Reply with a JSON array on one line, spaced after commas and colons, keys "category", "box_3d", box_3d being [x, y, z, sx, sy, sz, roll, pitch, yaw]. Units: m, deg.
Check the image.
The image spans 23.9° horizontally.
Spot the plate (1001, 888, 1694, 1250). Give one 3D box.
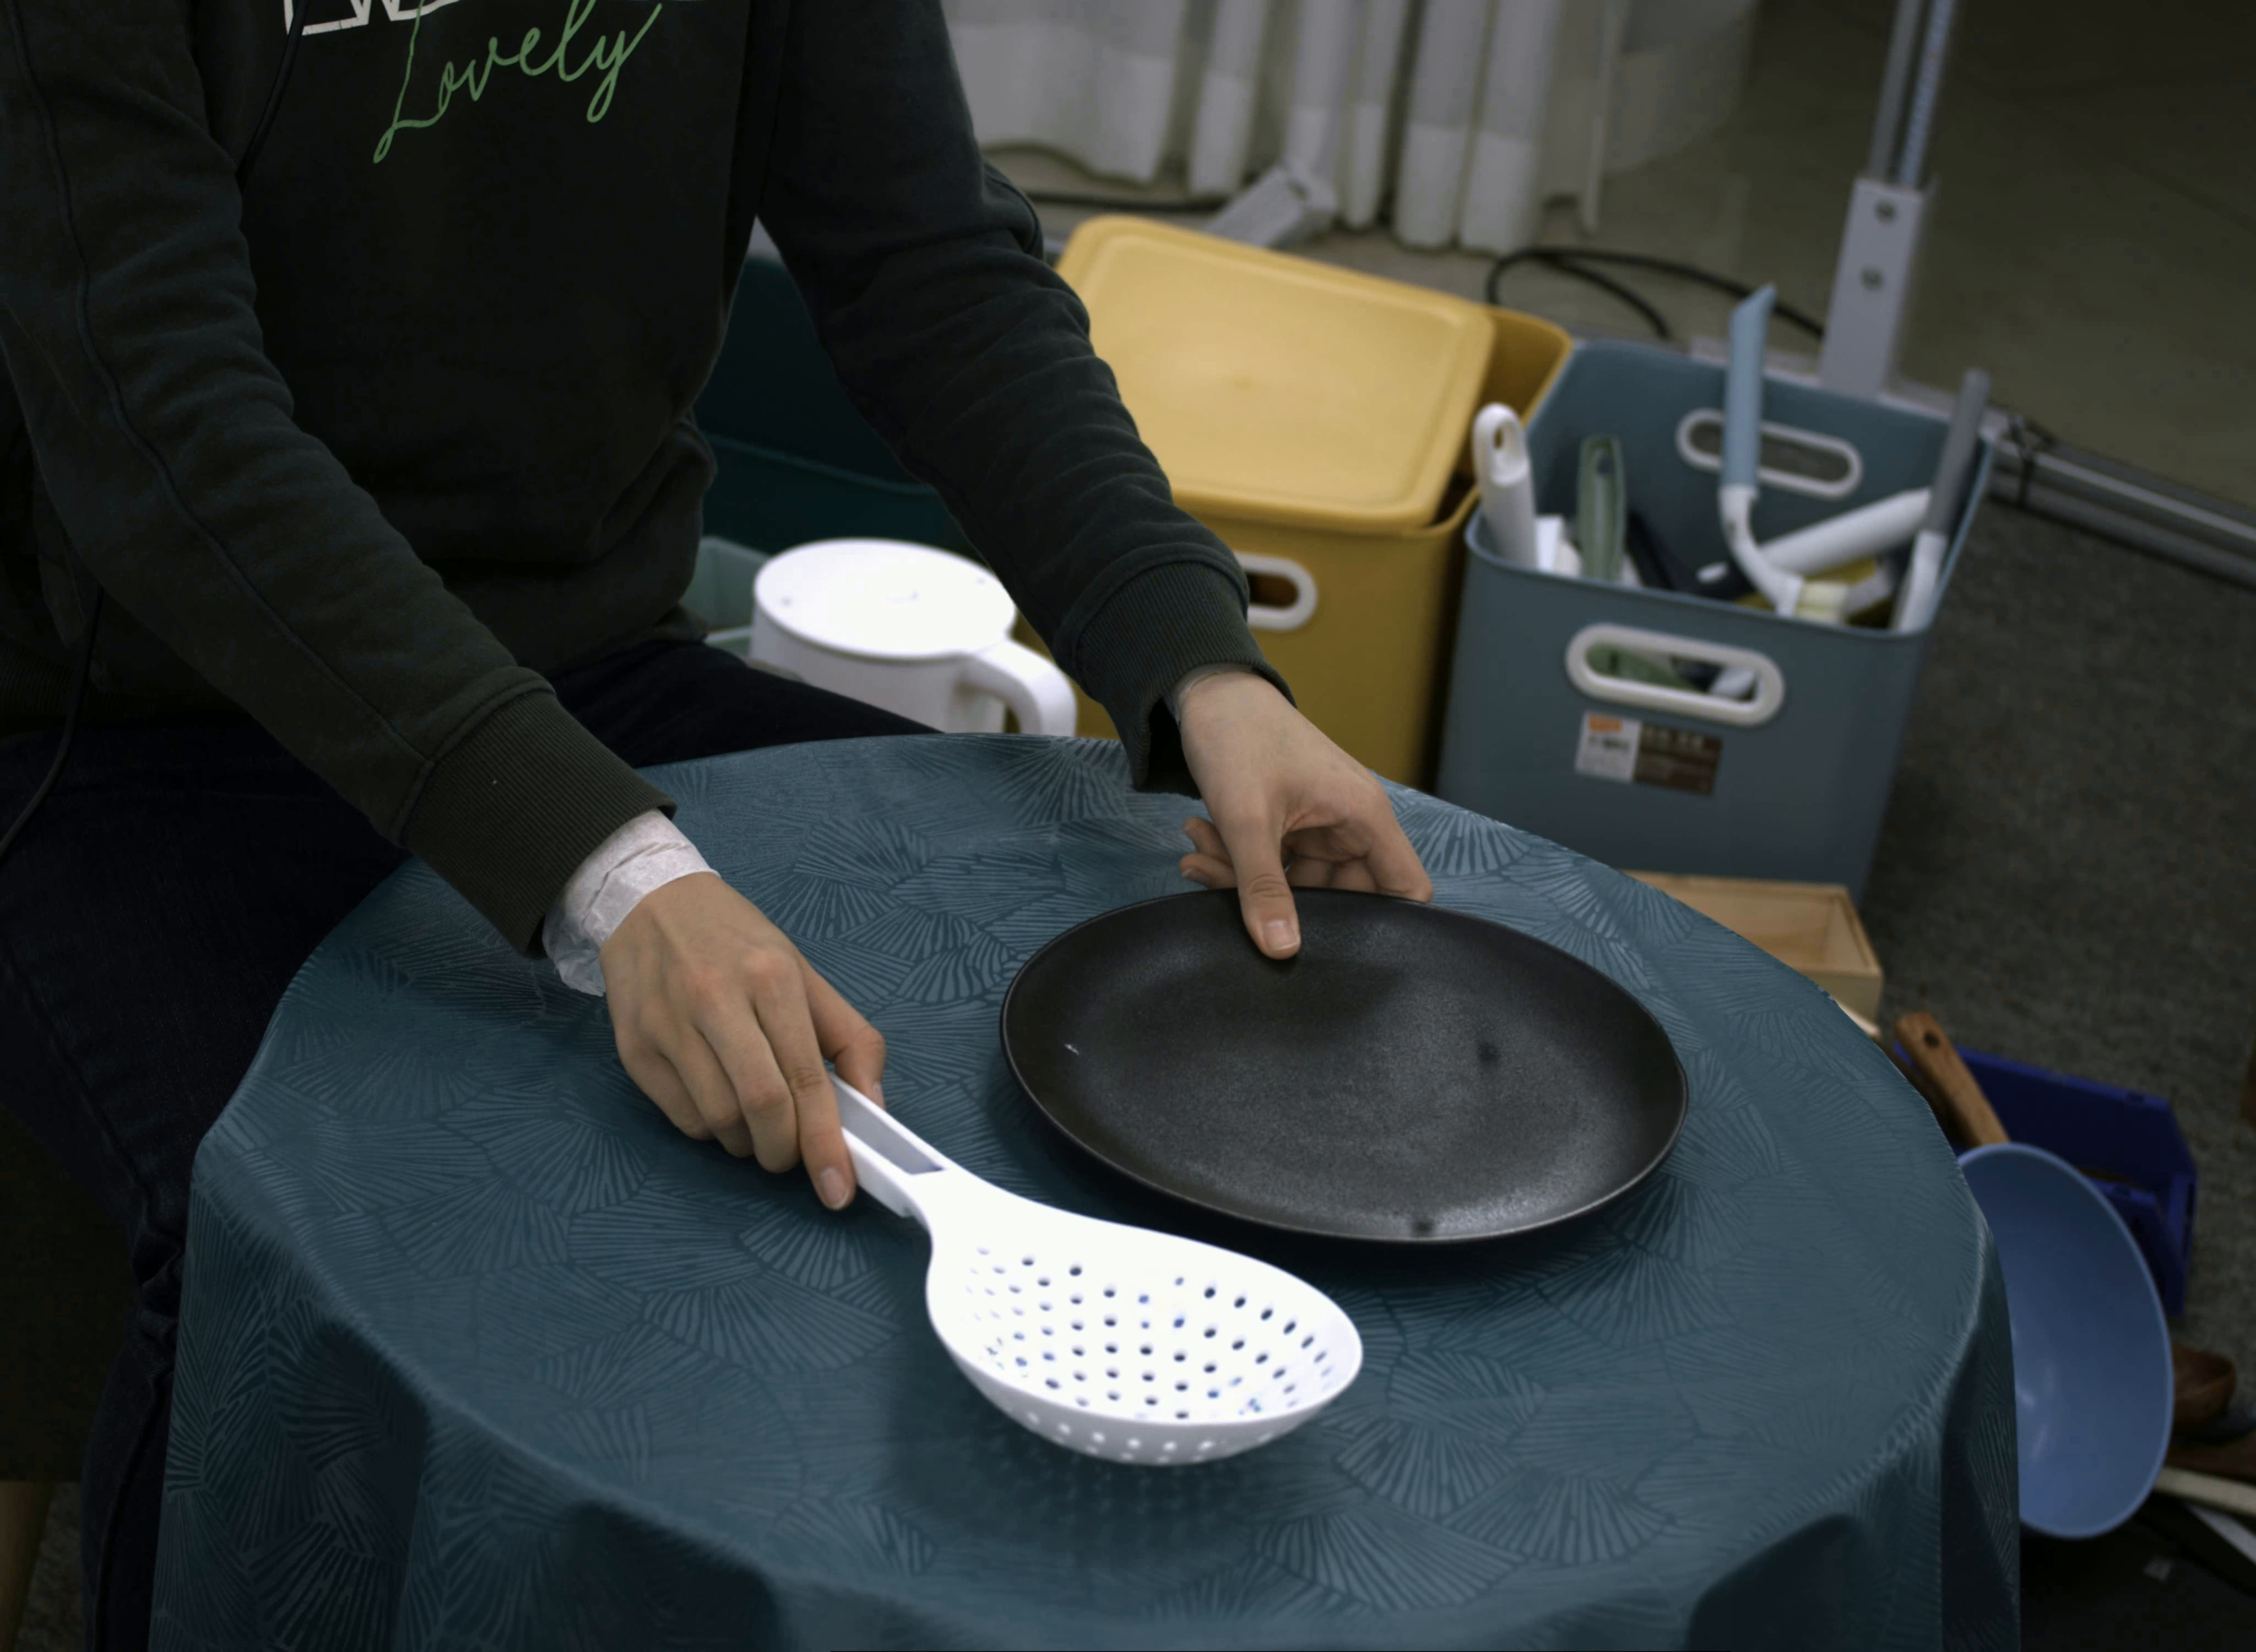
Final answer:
[{"category": "plate", "box_3d": [0.076, 0.089, 1.859, 0.243, 0.023, 0.246, 4, 27, -3]}]

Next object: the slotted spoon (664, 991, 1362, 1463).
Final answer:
[{"category": "slotted spoon", "box_3d": [-0.056, 0.124, 1.735, 0.135, 0.045, 0.353, -4, 27, -35]}]
